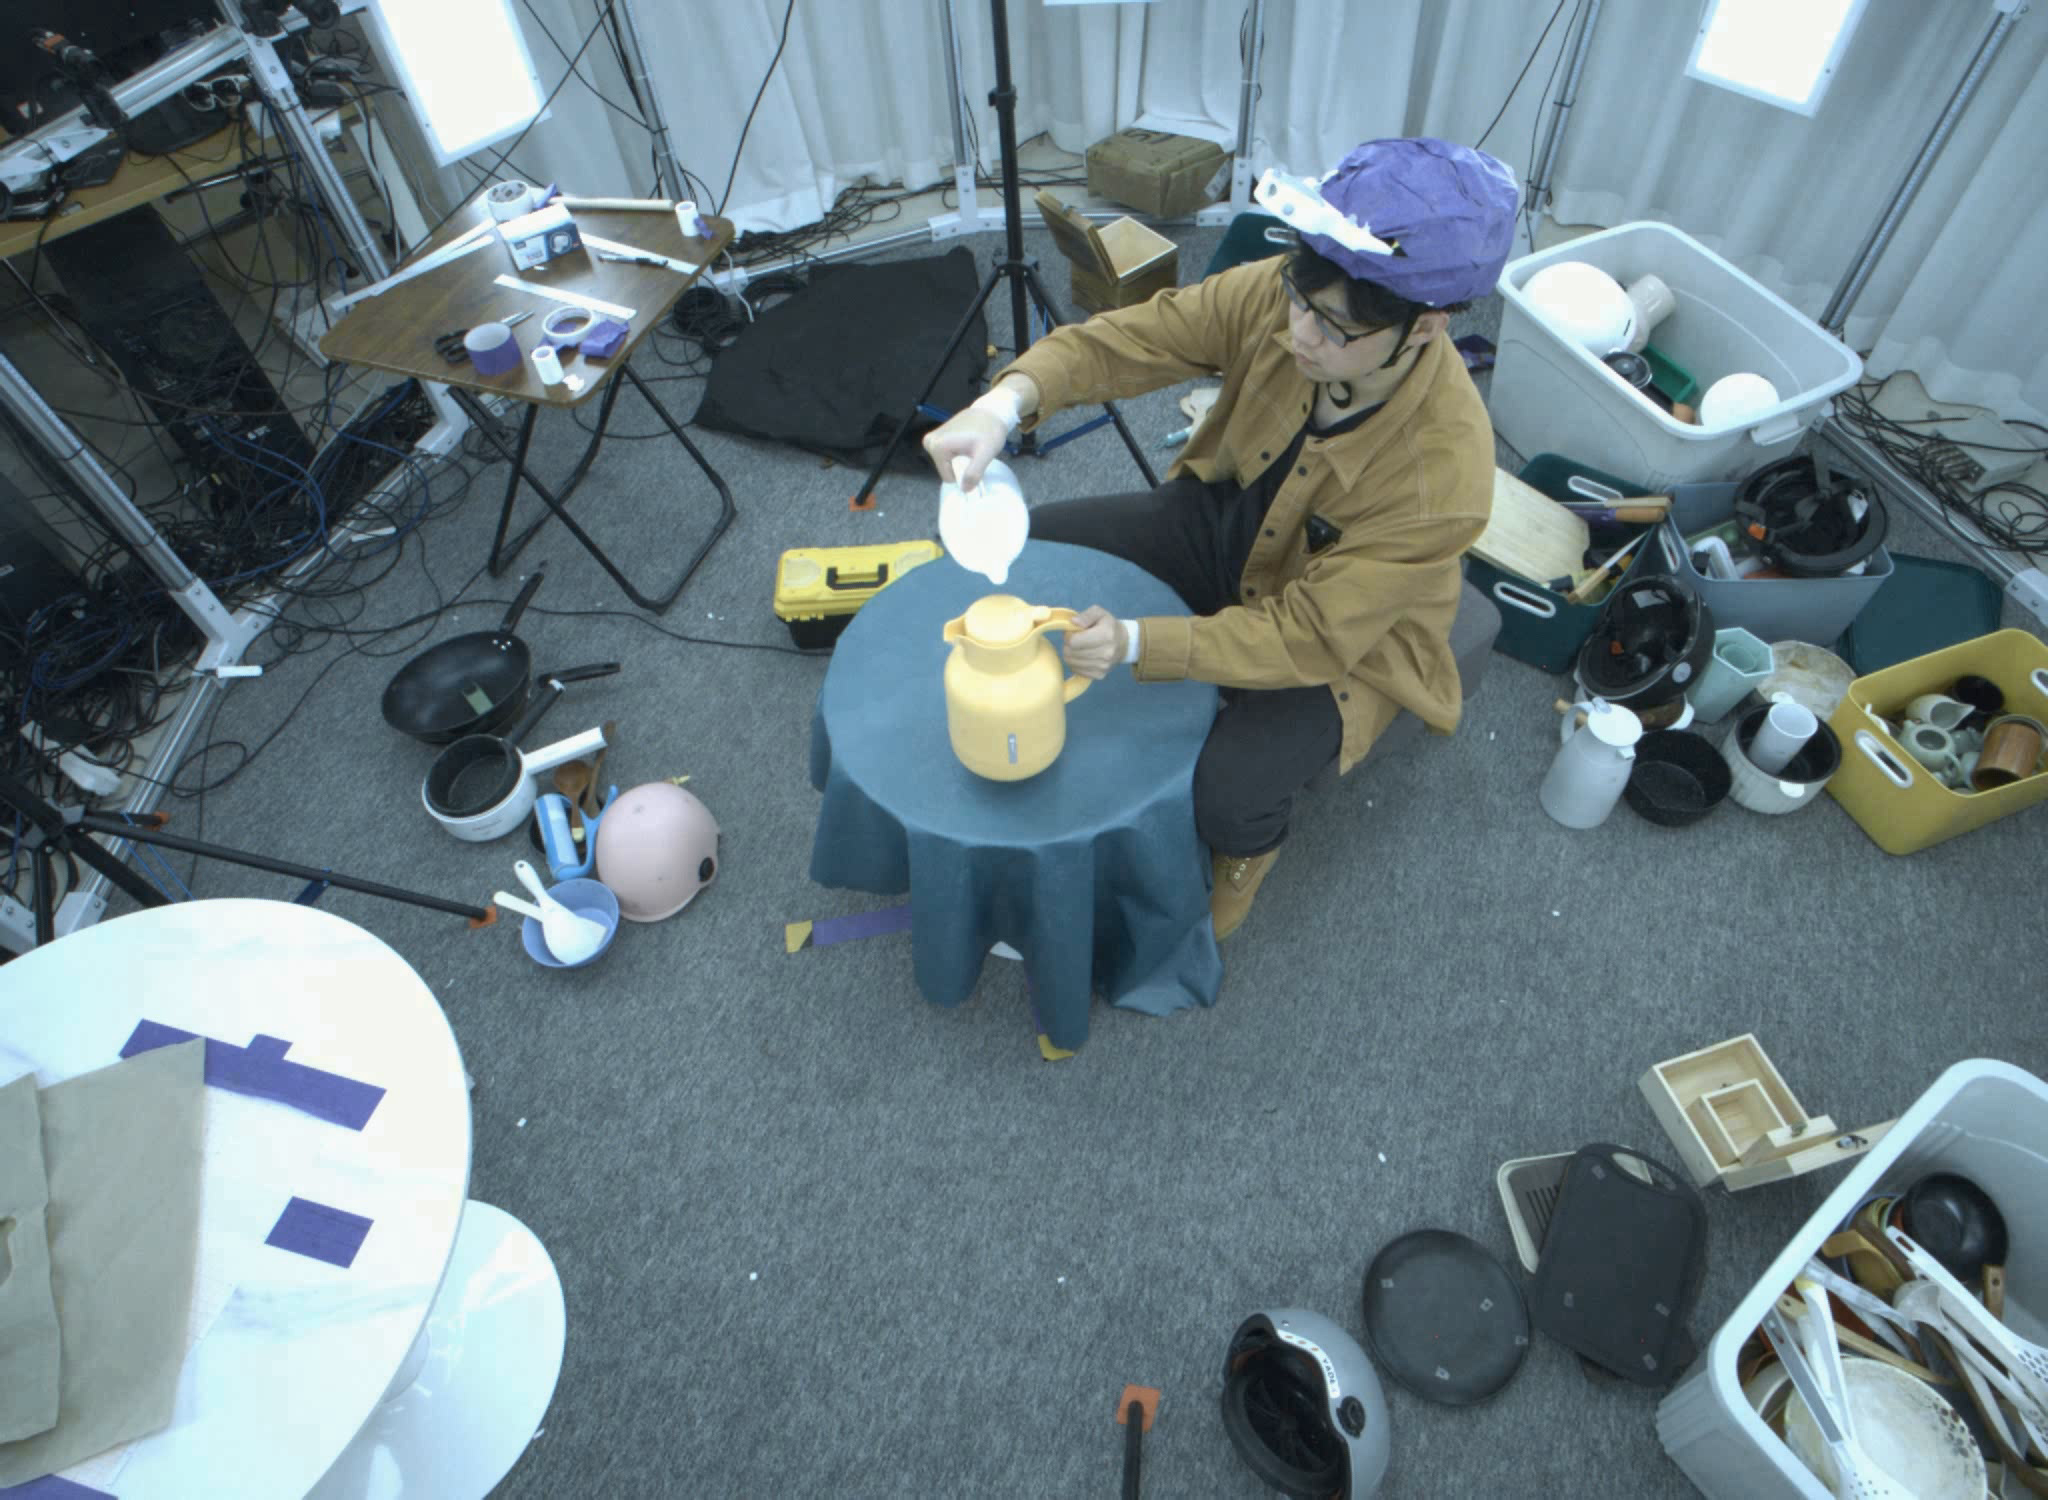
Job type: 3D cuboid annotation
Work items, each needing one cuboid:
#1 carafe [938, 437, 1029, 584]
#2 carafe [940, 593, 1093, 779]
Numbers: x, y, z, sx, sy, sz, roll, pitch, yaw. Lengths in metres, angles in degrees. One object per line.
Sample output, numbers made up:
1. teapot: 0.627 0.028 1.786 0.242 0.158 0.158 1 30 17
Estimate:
1. carafe: -0.063 -0.331 1.621 0.123 0.175 0.266 -15 23 5
2. carafe: -0.007 -0.092 1.648 0.203 0.263 0.161 -8 52 -1
